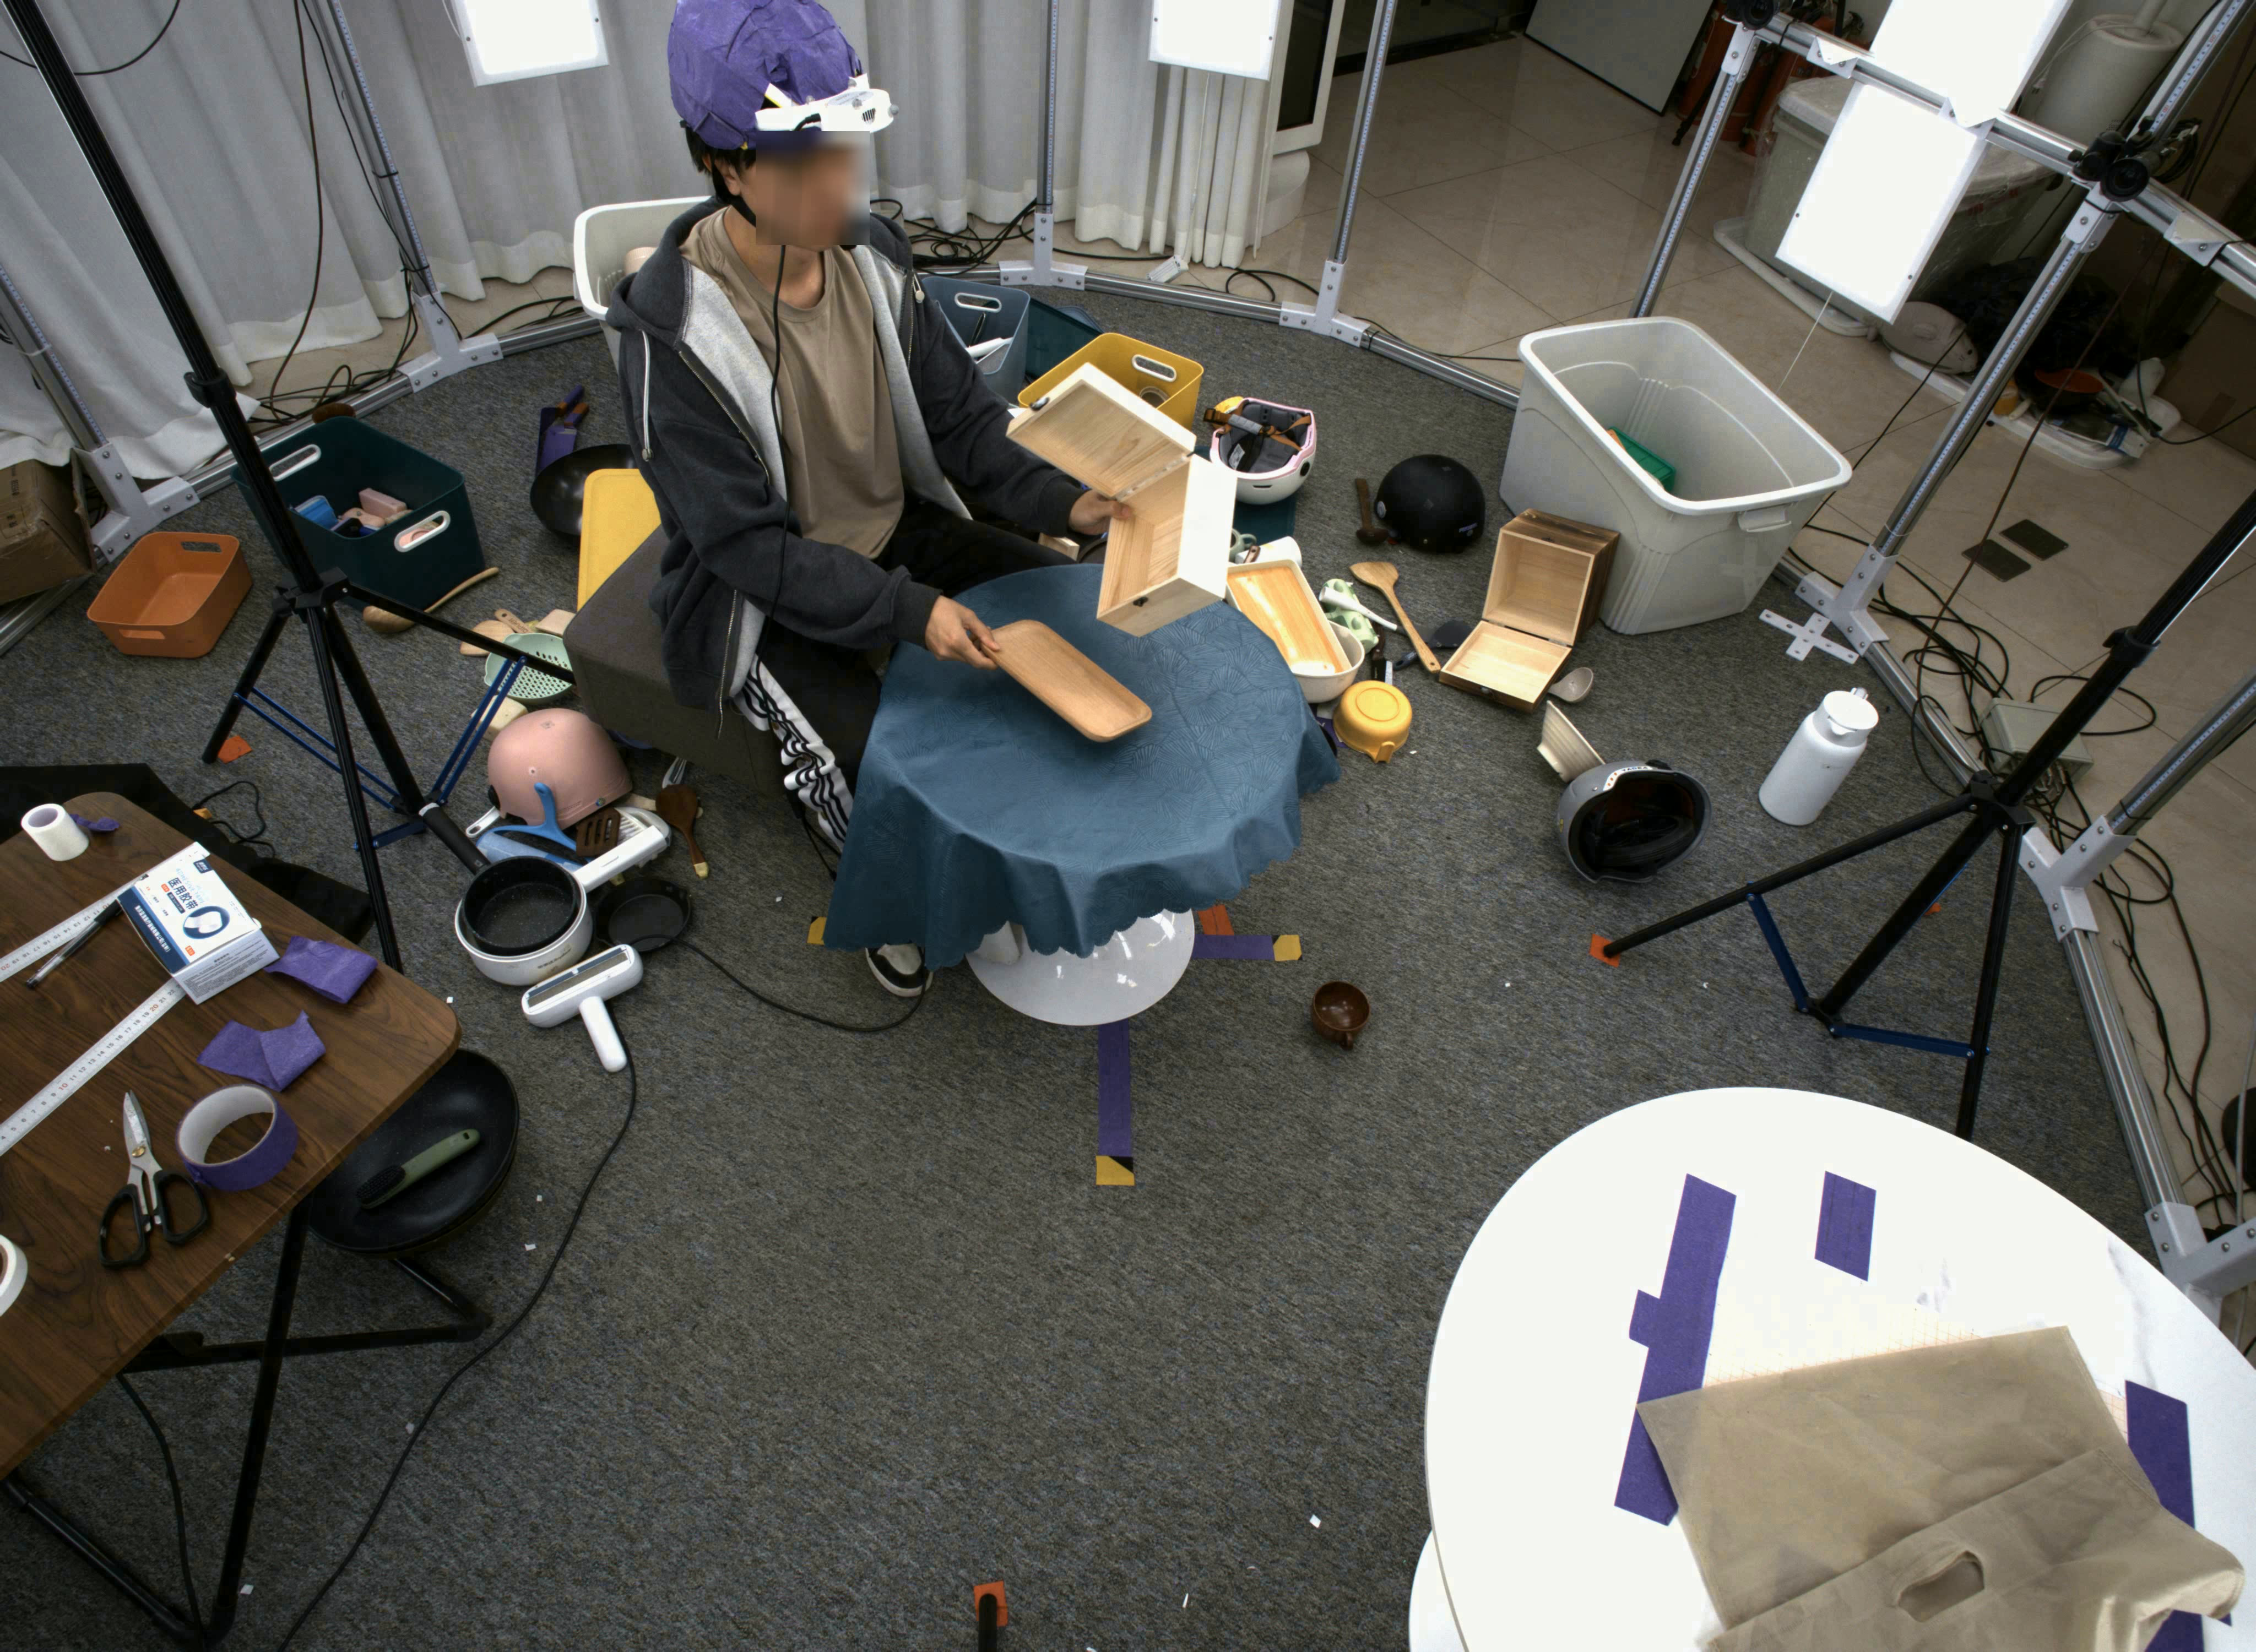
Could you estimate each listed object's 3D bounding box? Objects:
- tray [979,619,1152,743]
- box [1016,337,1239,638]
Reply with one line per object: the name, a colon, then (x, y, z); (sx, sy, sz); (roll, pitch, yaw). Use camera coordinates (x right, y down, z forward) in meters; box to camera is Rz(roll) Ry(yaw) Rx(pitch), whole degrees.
tray: (-0.087, -0.202, 1.767); (0.254, 0.022, 0.131); (40, 39, 23)
box: (-0.012, -0.427, 1.685); (0.250, 0.181, 0.269); (20, 67, -30)
